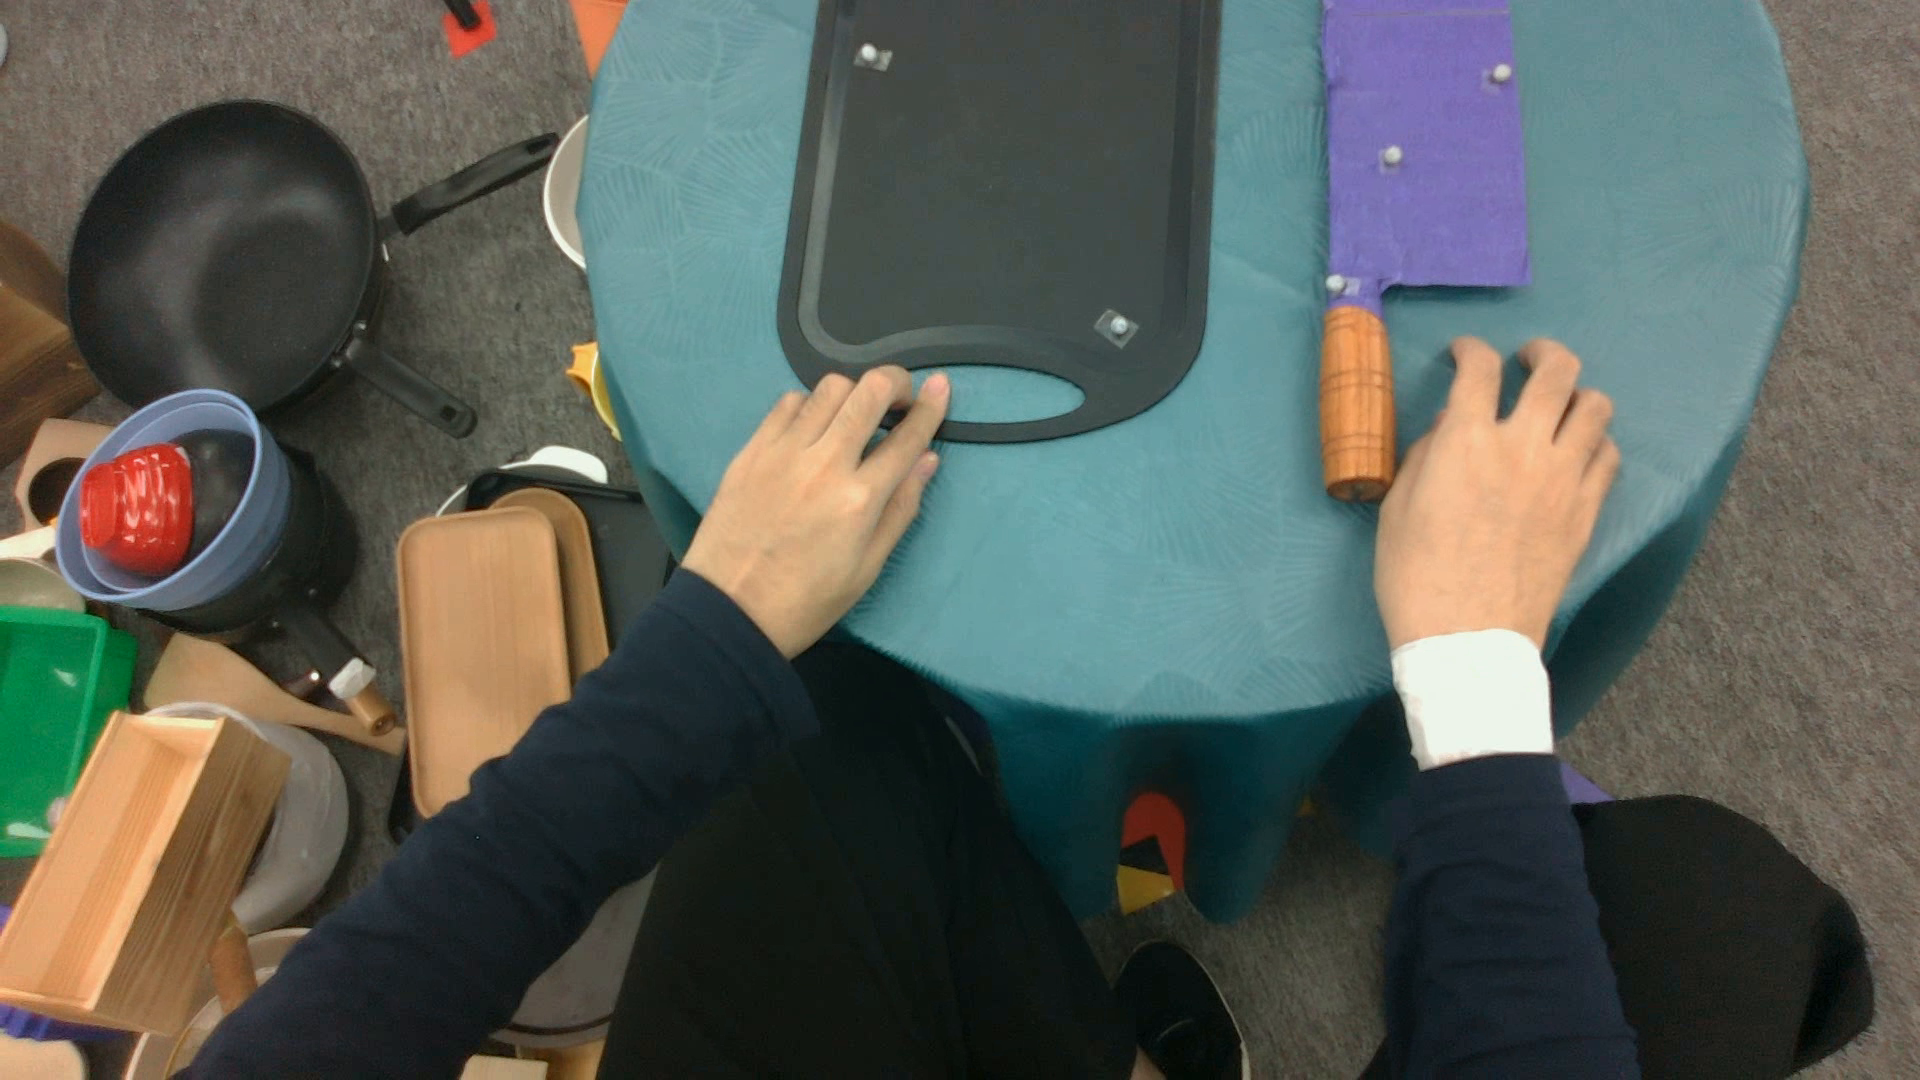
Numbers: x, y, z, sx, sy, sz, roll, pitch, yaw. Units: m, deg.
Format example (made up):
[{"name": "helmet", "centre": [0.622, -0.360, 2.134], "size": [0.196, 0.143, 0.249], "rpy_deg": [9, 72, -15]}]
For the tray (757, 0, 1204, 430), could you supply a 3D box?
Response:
[{"name": "tray", "centre": [0.013, -0.207, 0.694], "size": [0.211, 0.010, 0.326], "rpy_deg": [4, 73, 6]}]

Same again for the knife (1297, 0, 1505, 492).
[{"name": "knife", "centre": [0.209, -0.174, 0.656], "size": [0.104, 0.032, 0.316], "rpy_deg": [1, 72, 6]}]
